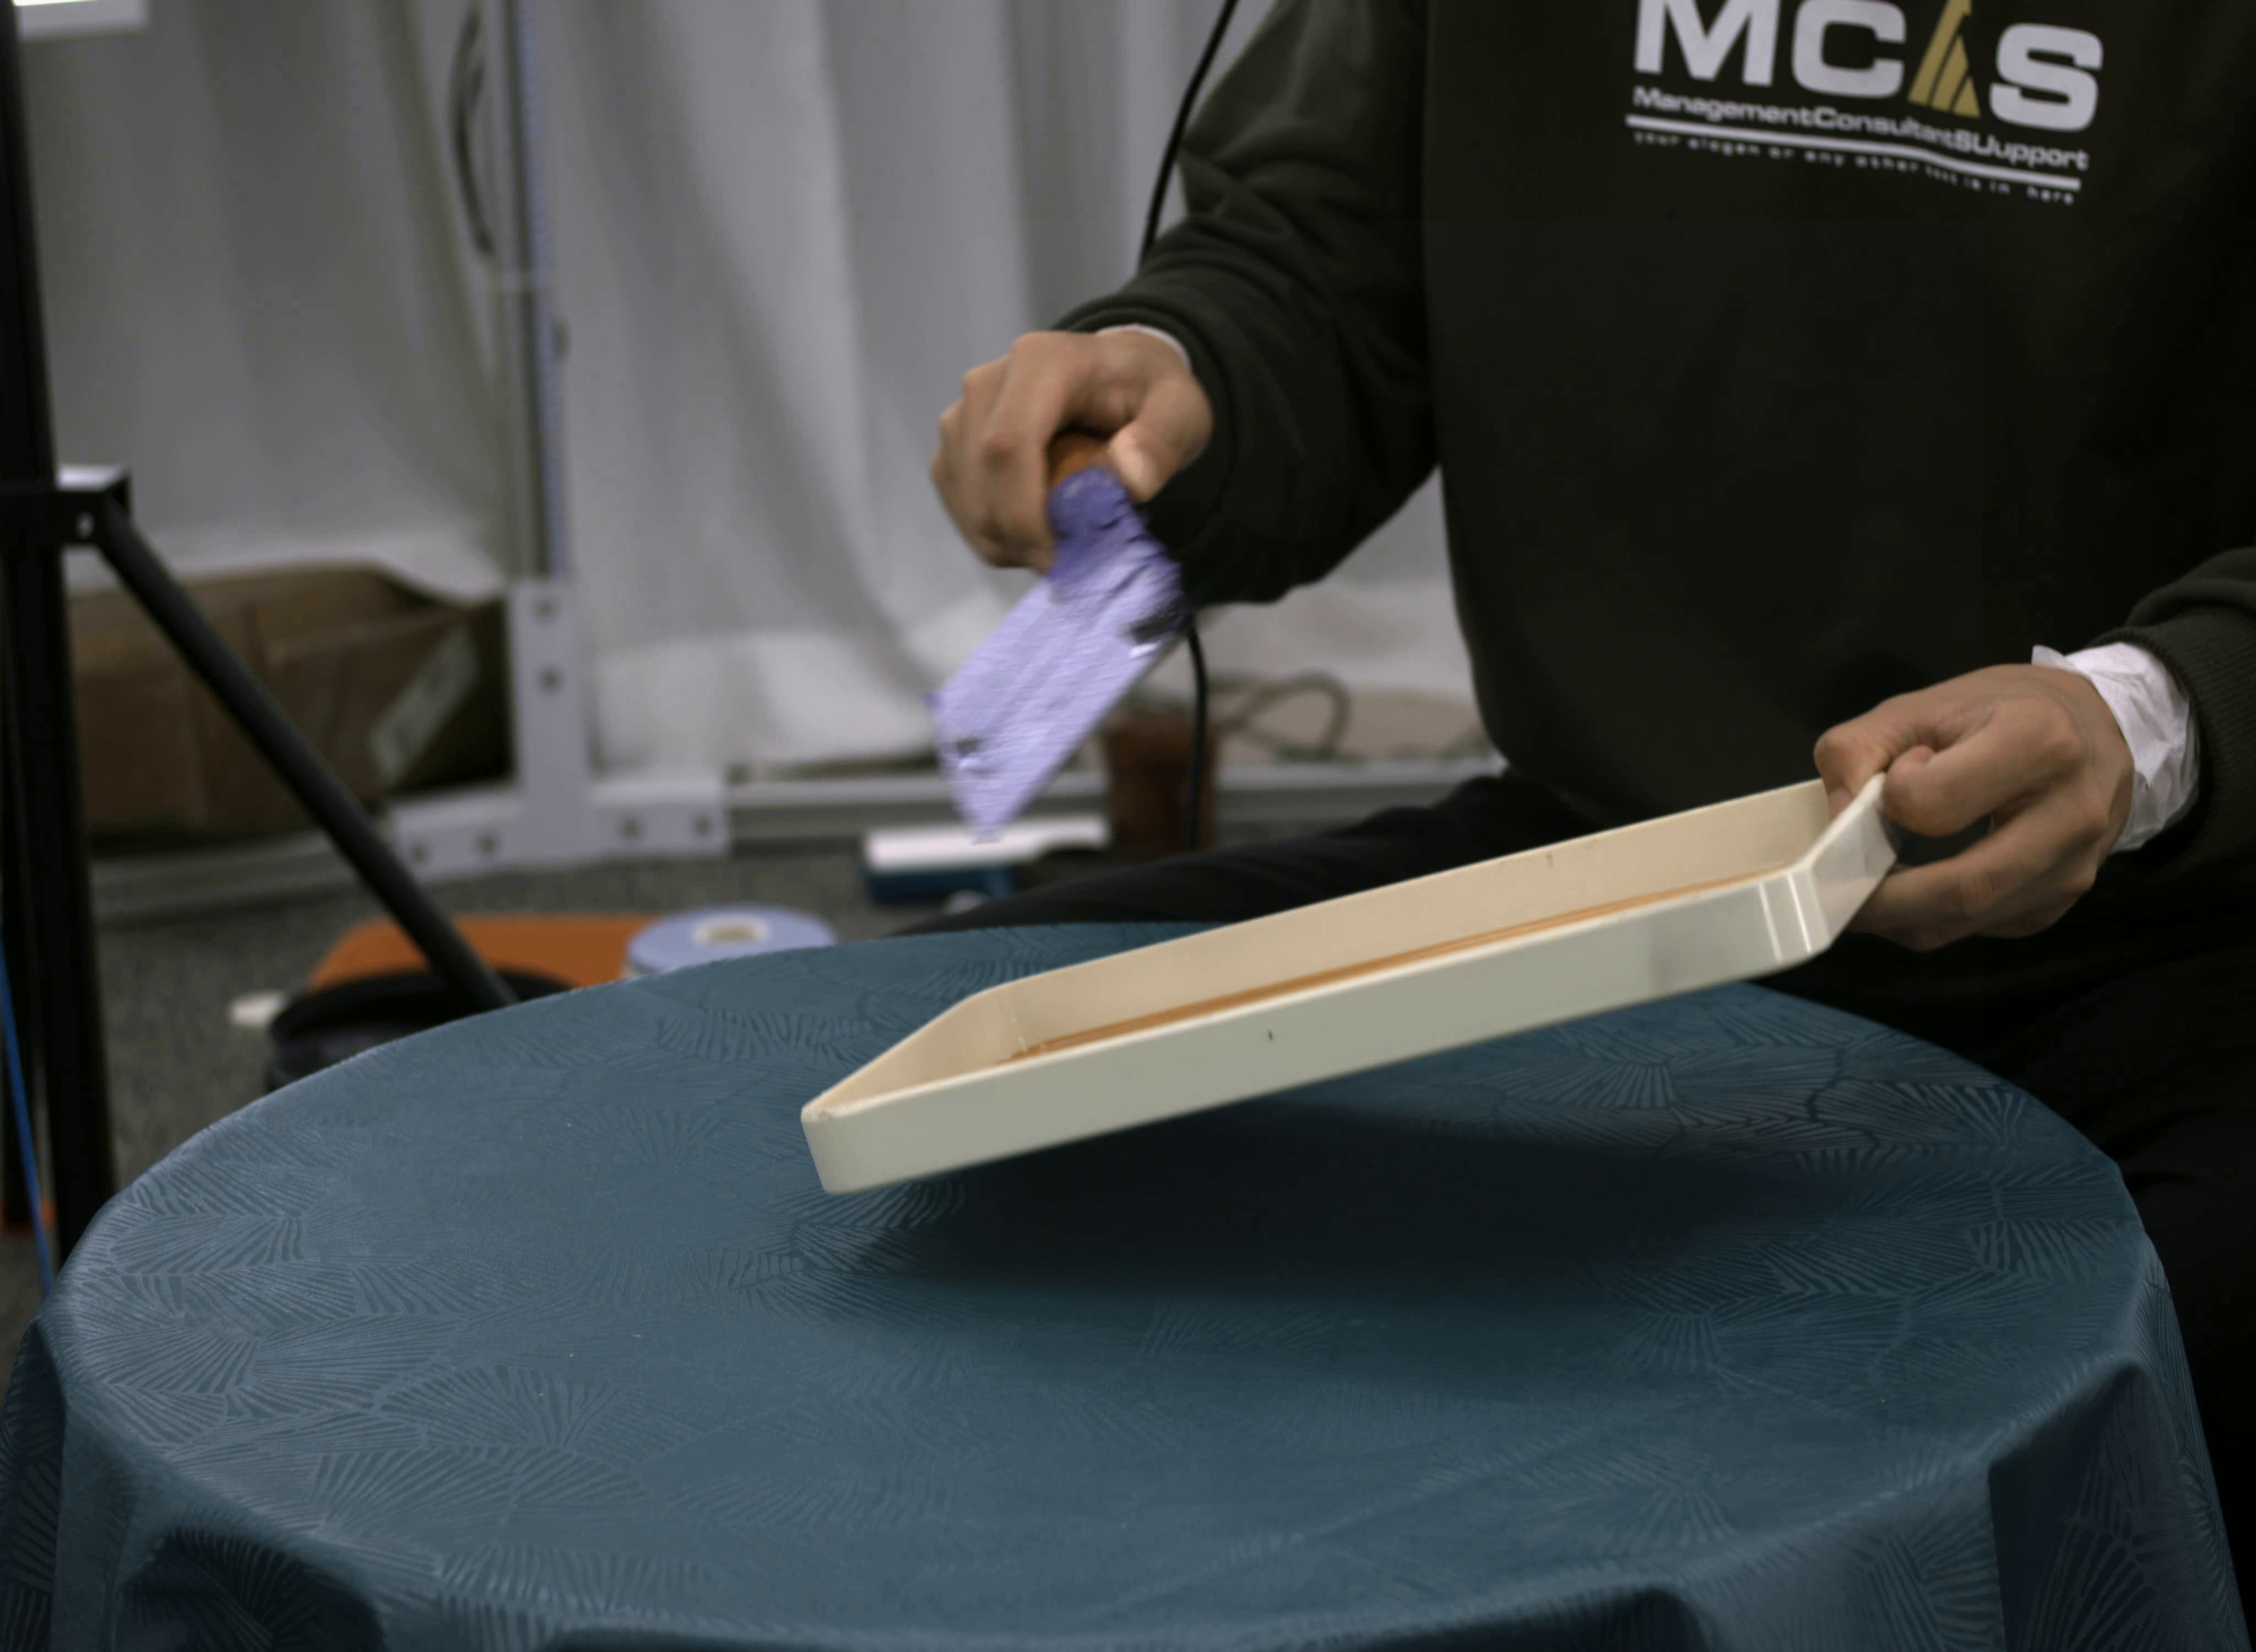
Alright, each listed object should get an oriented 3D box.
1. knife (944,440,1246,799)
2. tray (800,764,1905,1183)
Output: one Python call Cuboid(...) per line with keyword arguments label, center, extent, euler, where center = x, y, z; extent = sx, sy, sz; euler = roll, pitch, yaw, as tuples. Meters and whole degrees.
Cuboid(label="knife", center=(-0.022, -0.066, 1.624), extent=(0.032, 0.104, 0.317), euler=(41, 3, -11))
Cuboid(label="tray", center=(0.069, 0.043, 1.536), extent=(0.303, 0.027, 0.189), euler=(-14, 5, 19))
